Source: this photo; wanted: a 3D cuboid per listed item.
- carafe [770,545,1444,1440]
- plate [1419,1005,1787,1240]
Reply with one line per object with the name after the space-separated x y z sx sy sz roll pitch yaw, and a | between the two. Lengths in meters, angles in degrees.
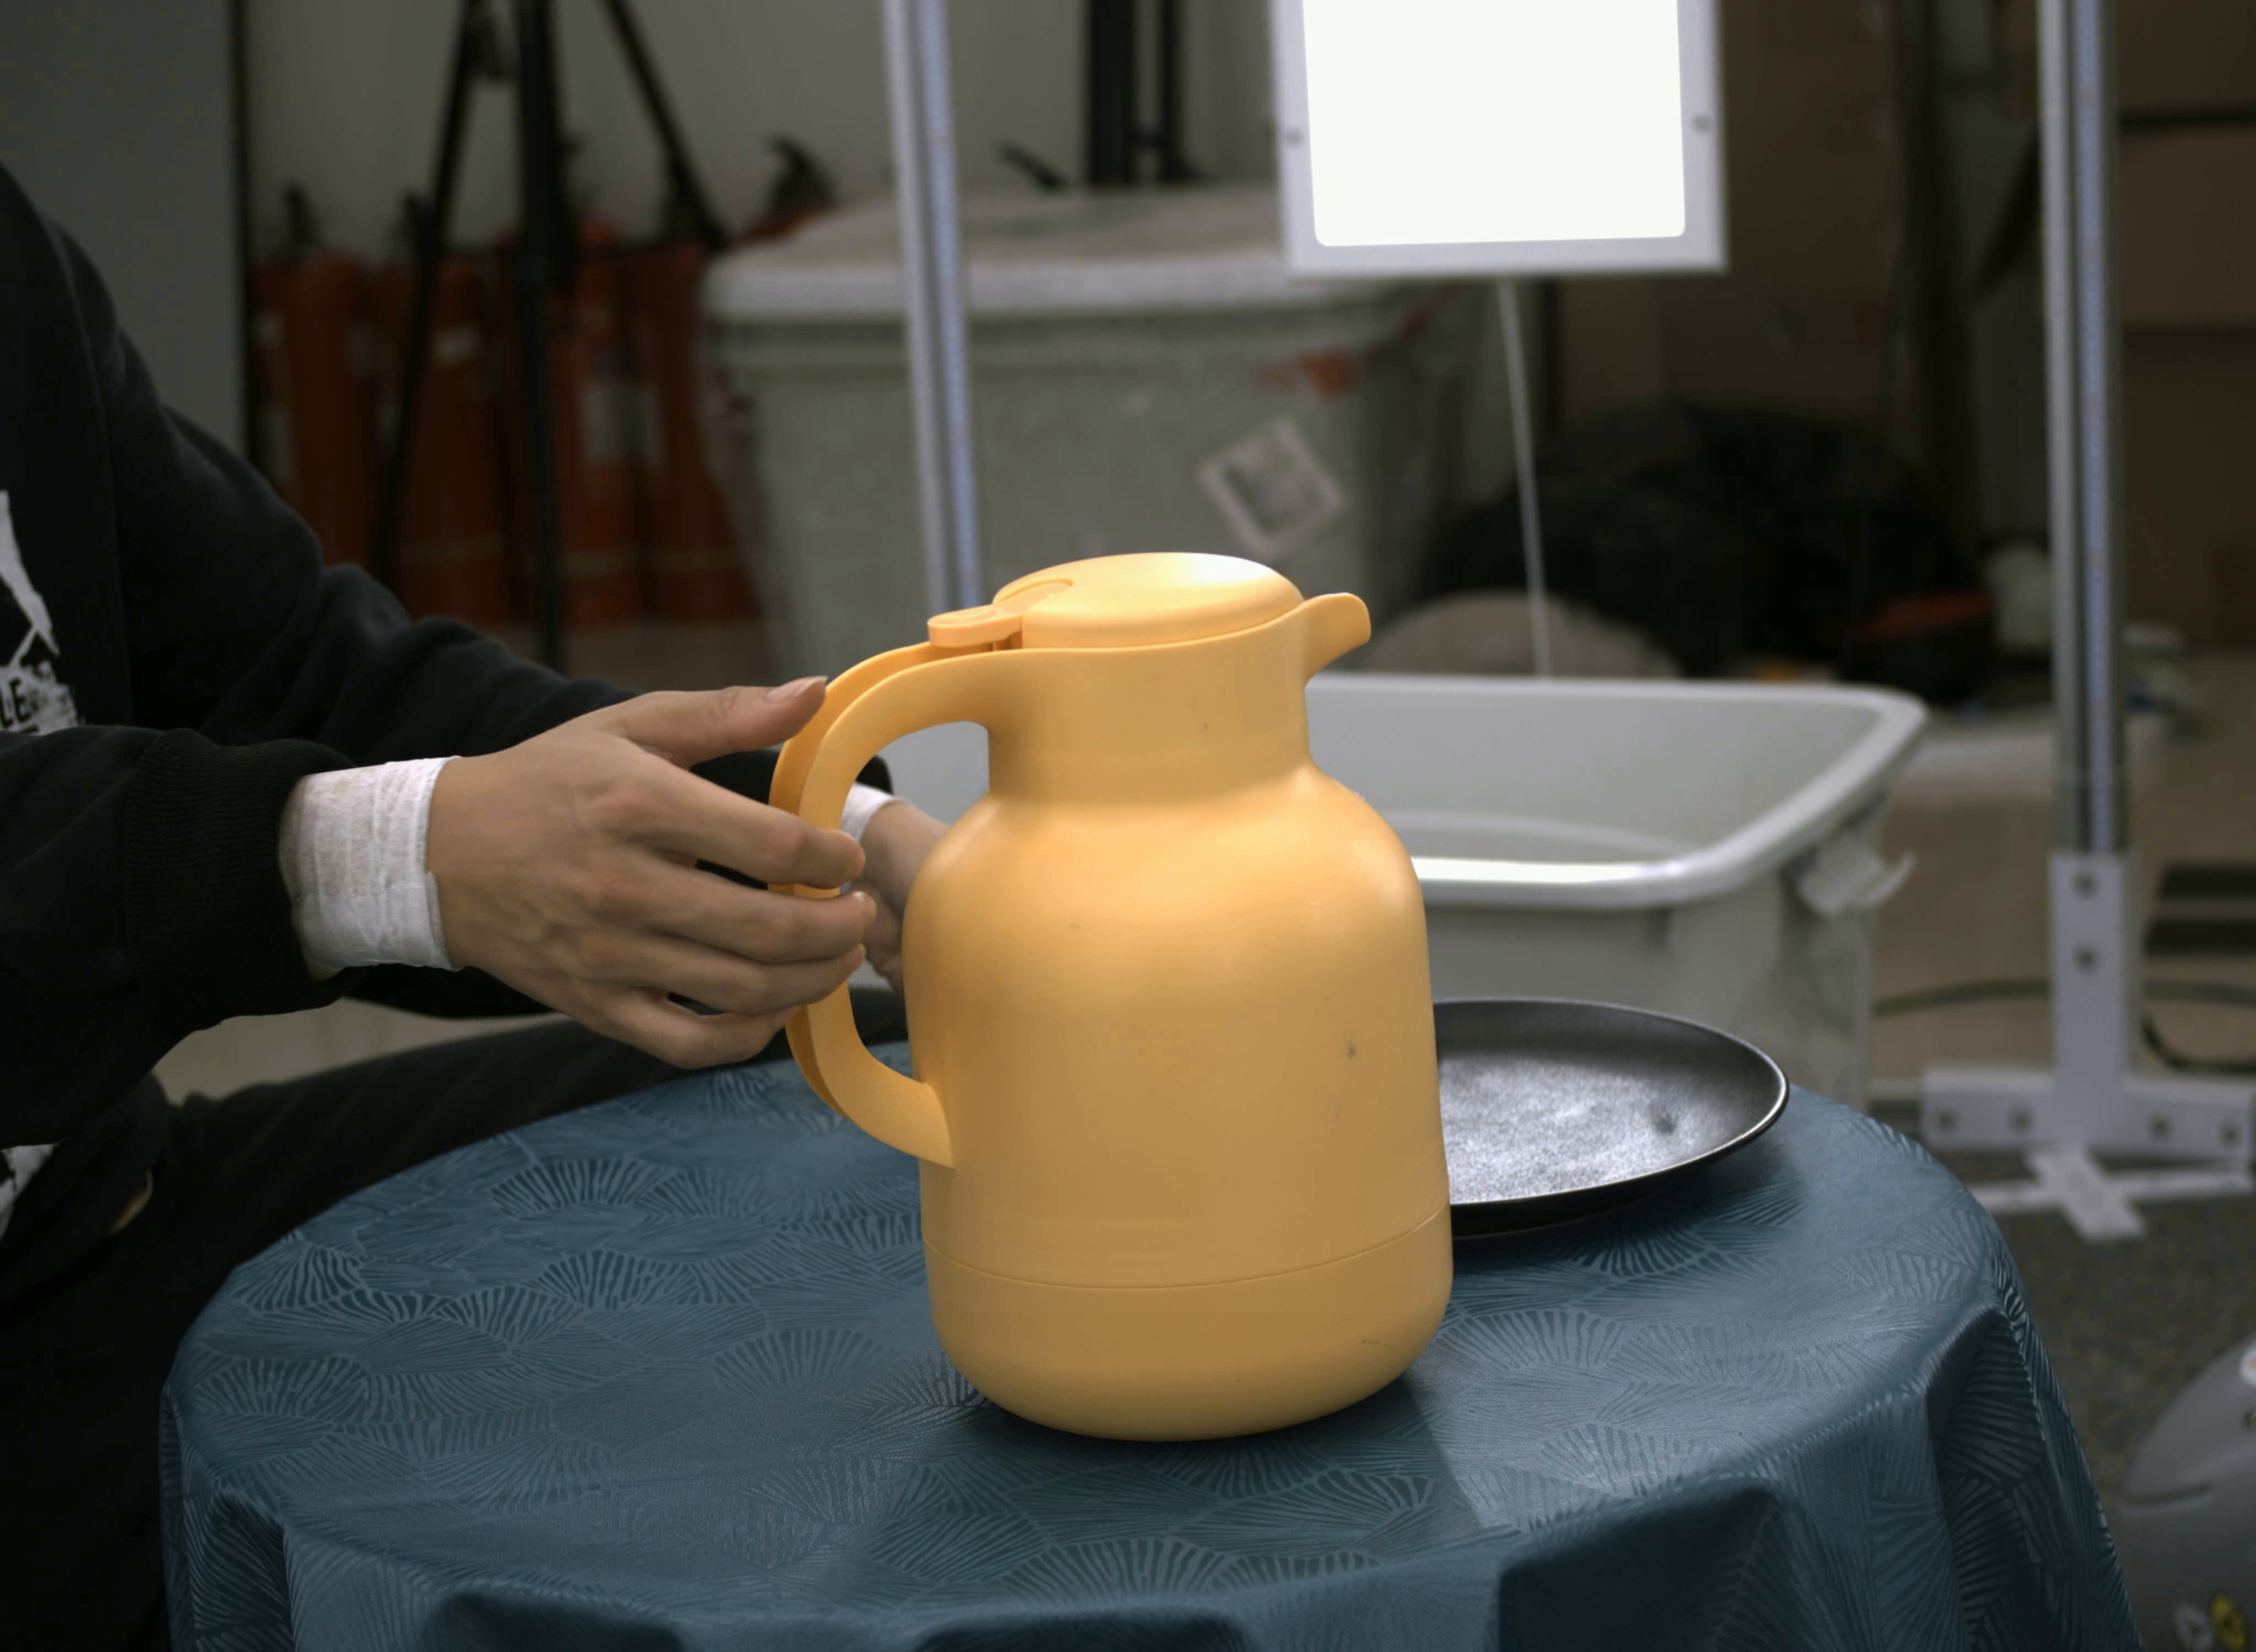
-0.007 0.049 1.669 0.199 0.261 0.165 -8 12 -18 | carafe
0.107 0.104 1.900 0.244 0.023 0.244 -5 14 0 | plate
